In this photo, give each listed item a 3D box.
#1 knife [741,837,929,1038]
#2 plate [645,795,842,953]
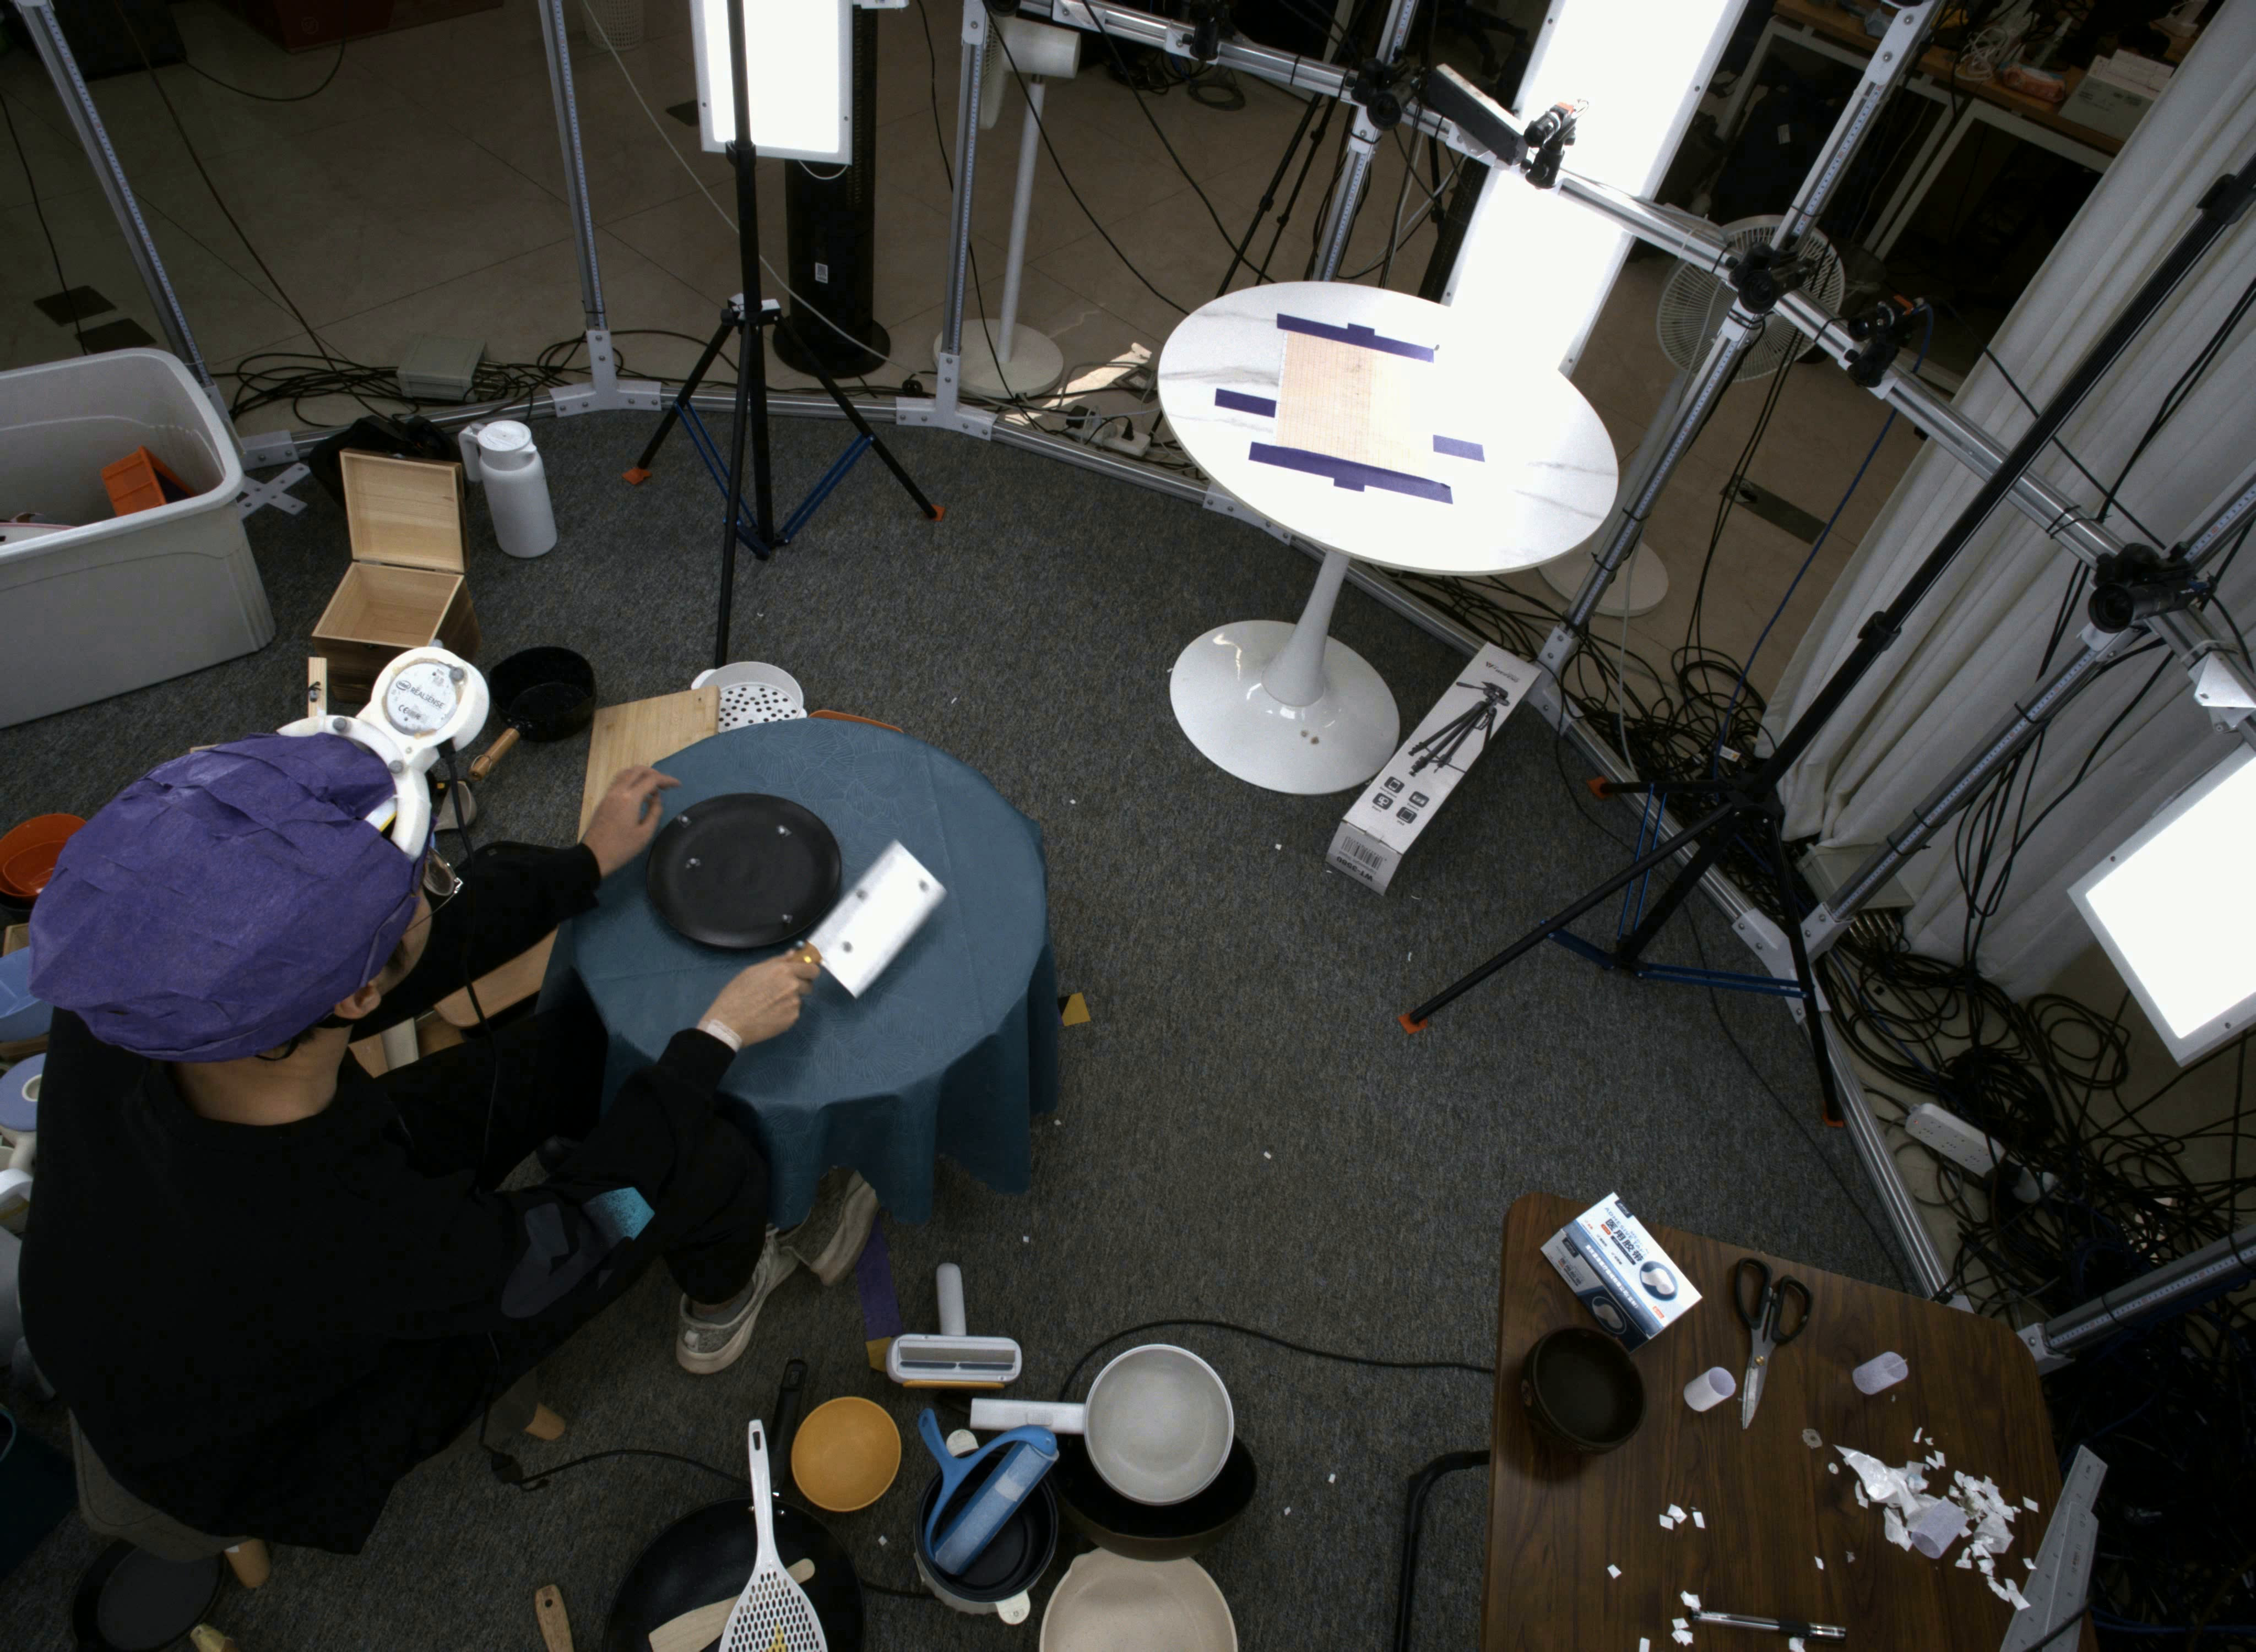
[{"bbox_3d":[-0.338,0.142,1.549,0.095,0.020,0.304,48,54,-18],"label":"knife"},{"bbox_3d":[-0.485,0.059,1.637,0.244,0.024,0.240,8,52,-9],"label":"plate"}]
